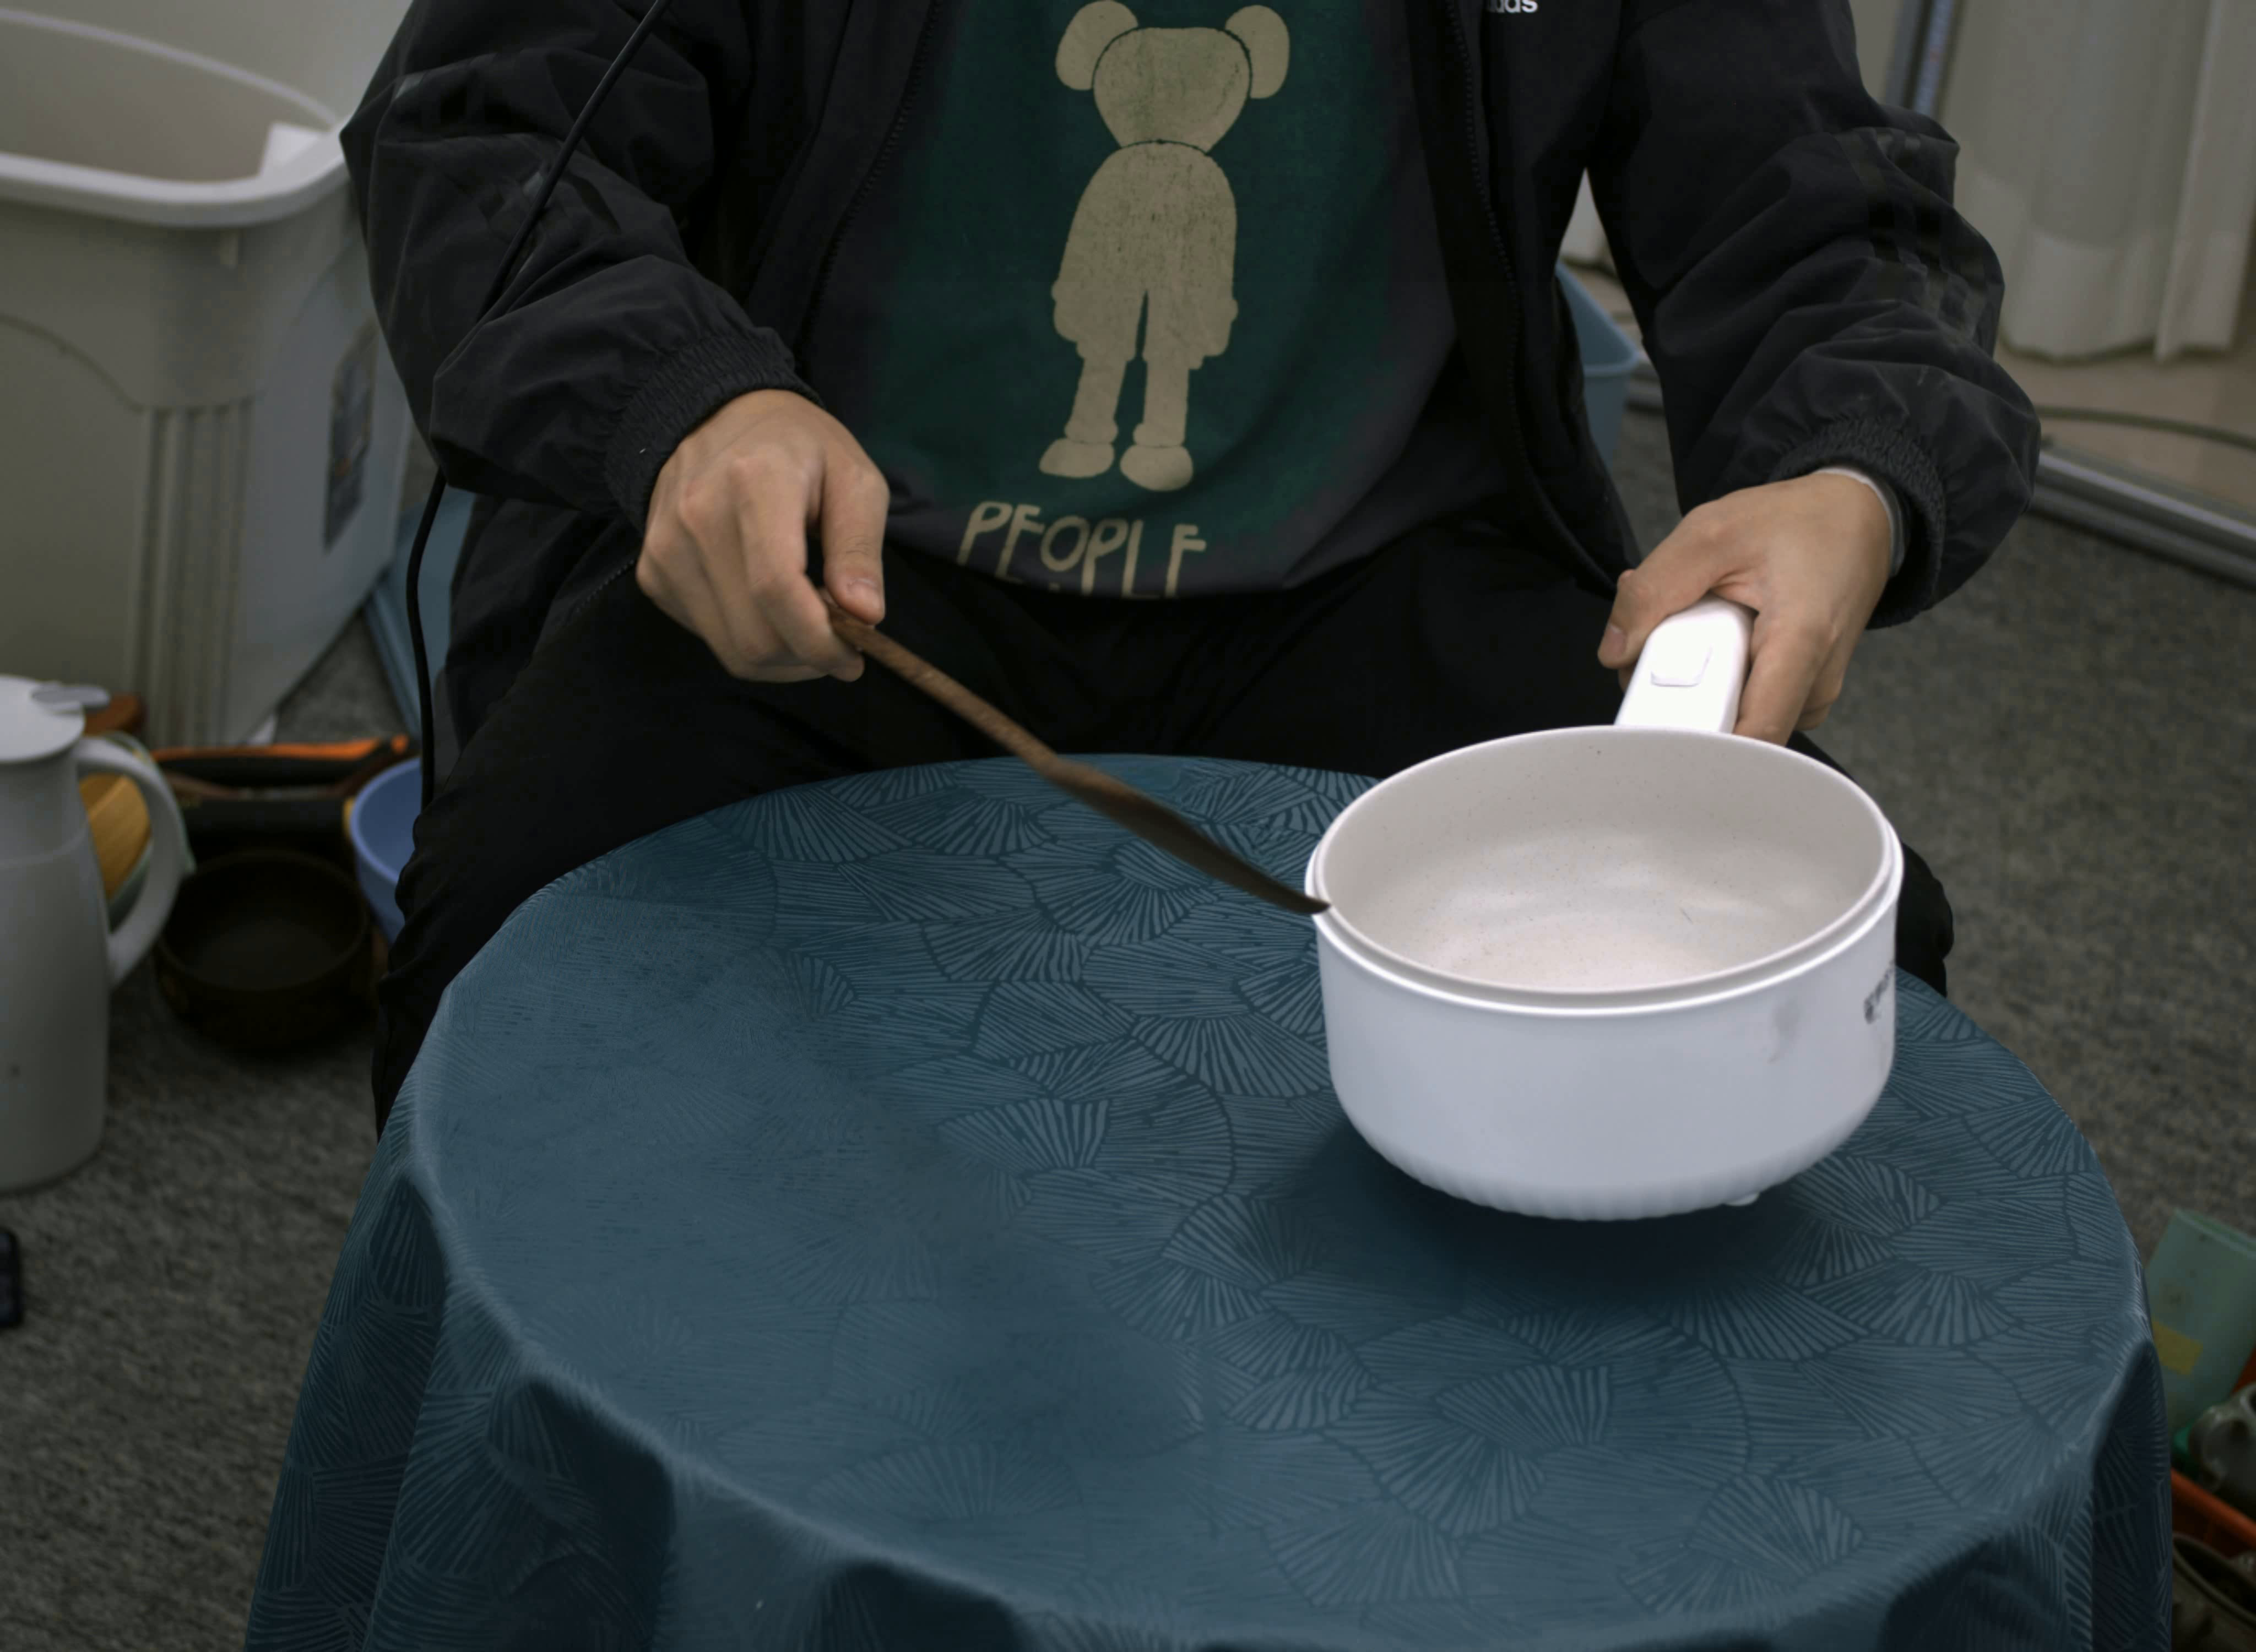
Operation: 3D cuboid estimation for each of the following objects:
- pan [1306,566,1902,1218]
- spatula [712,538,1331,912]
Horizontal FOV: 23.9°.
[{"bbox_3d":[0.184,0.020,1.879,0.201,0.101,0.355,1,26,16],"label":"pan"},{"bbox_3d":[-0.055,-0.045,1.836,0.095,0.016,0.389,34,-1,-35],"label":"spatula"}]
